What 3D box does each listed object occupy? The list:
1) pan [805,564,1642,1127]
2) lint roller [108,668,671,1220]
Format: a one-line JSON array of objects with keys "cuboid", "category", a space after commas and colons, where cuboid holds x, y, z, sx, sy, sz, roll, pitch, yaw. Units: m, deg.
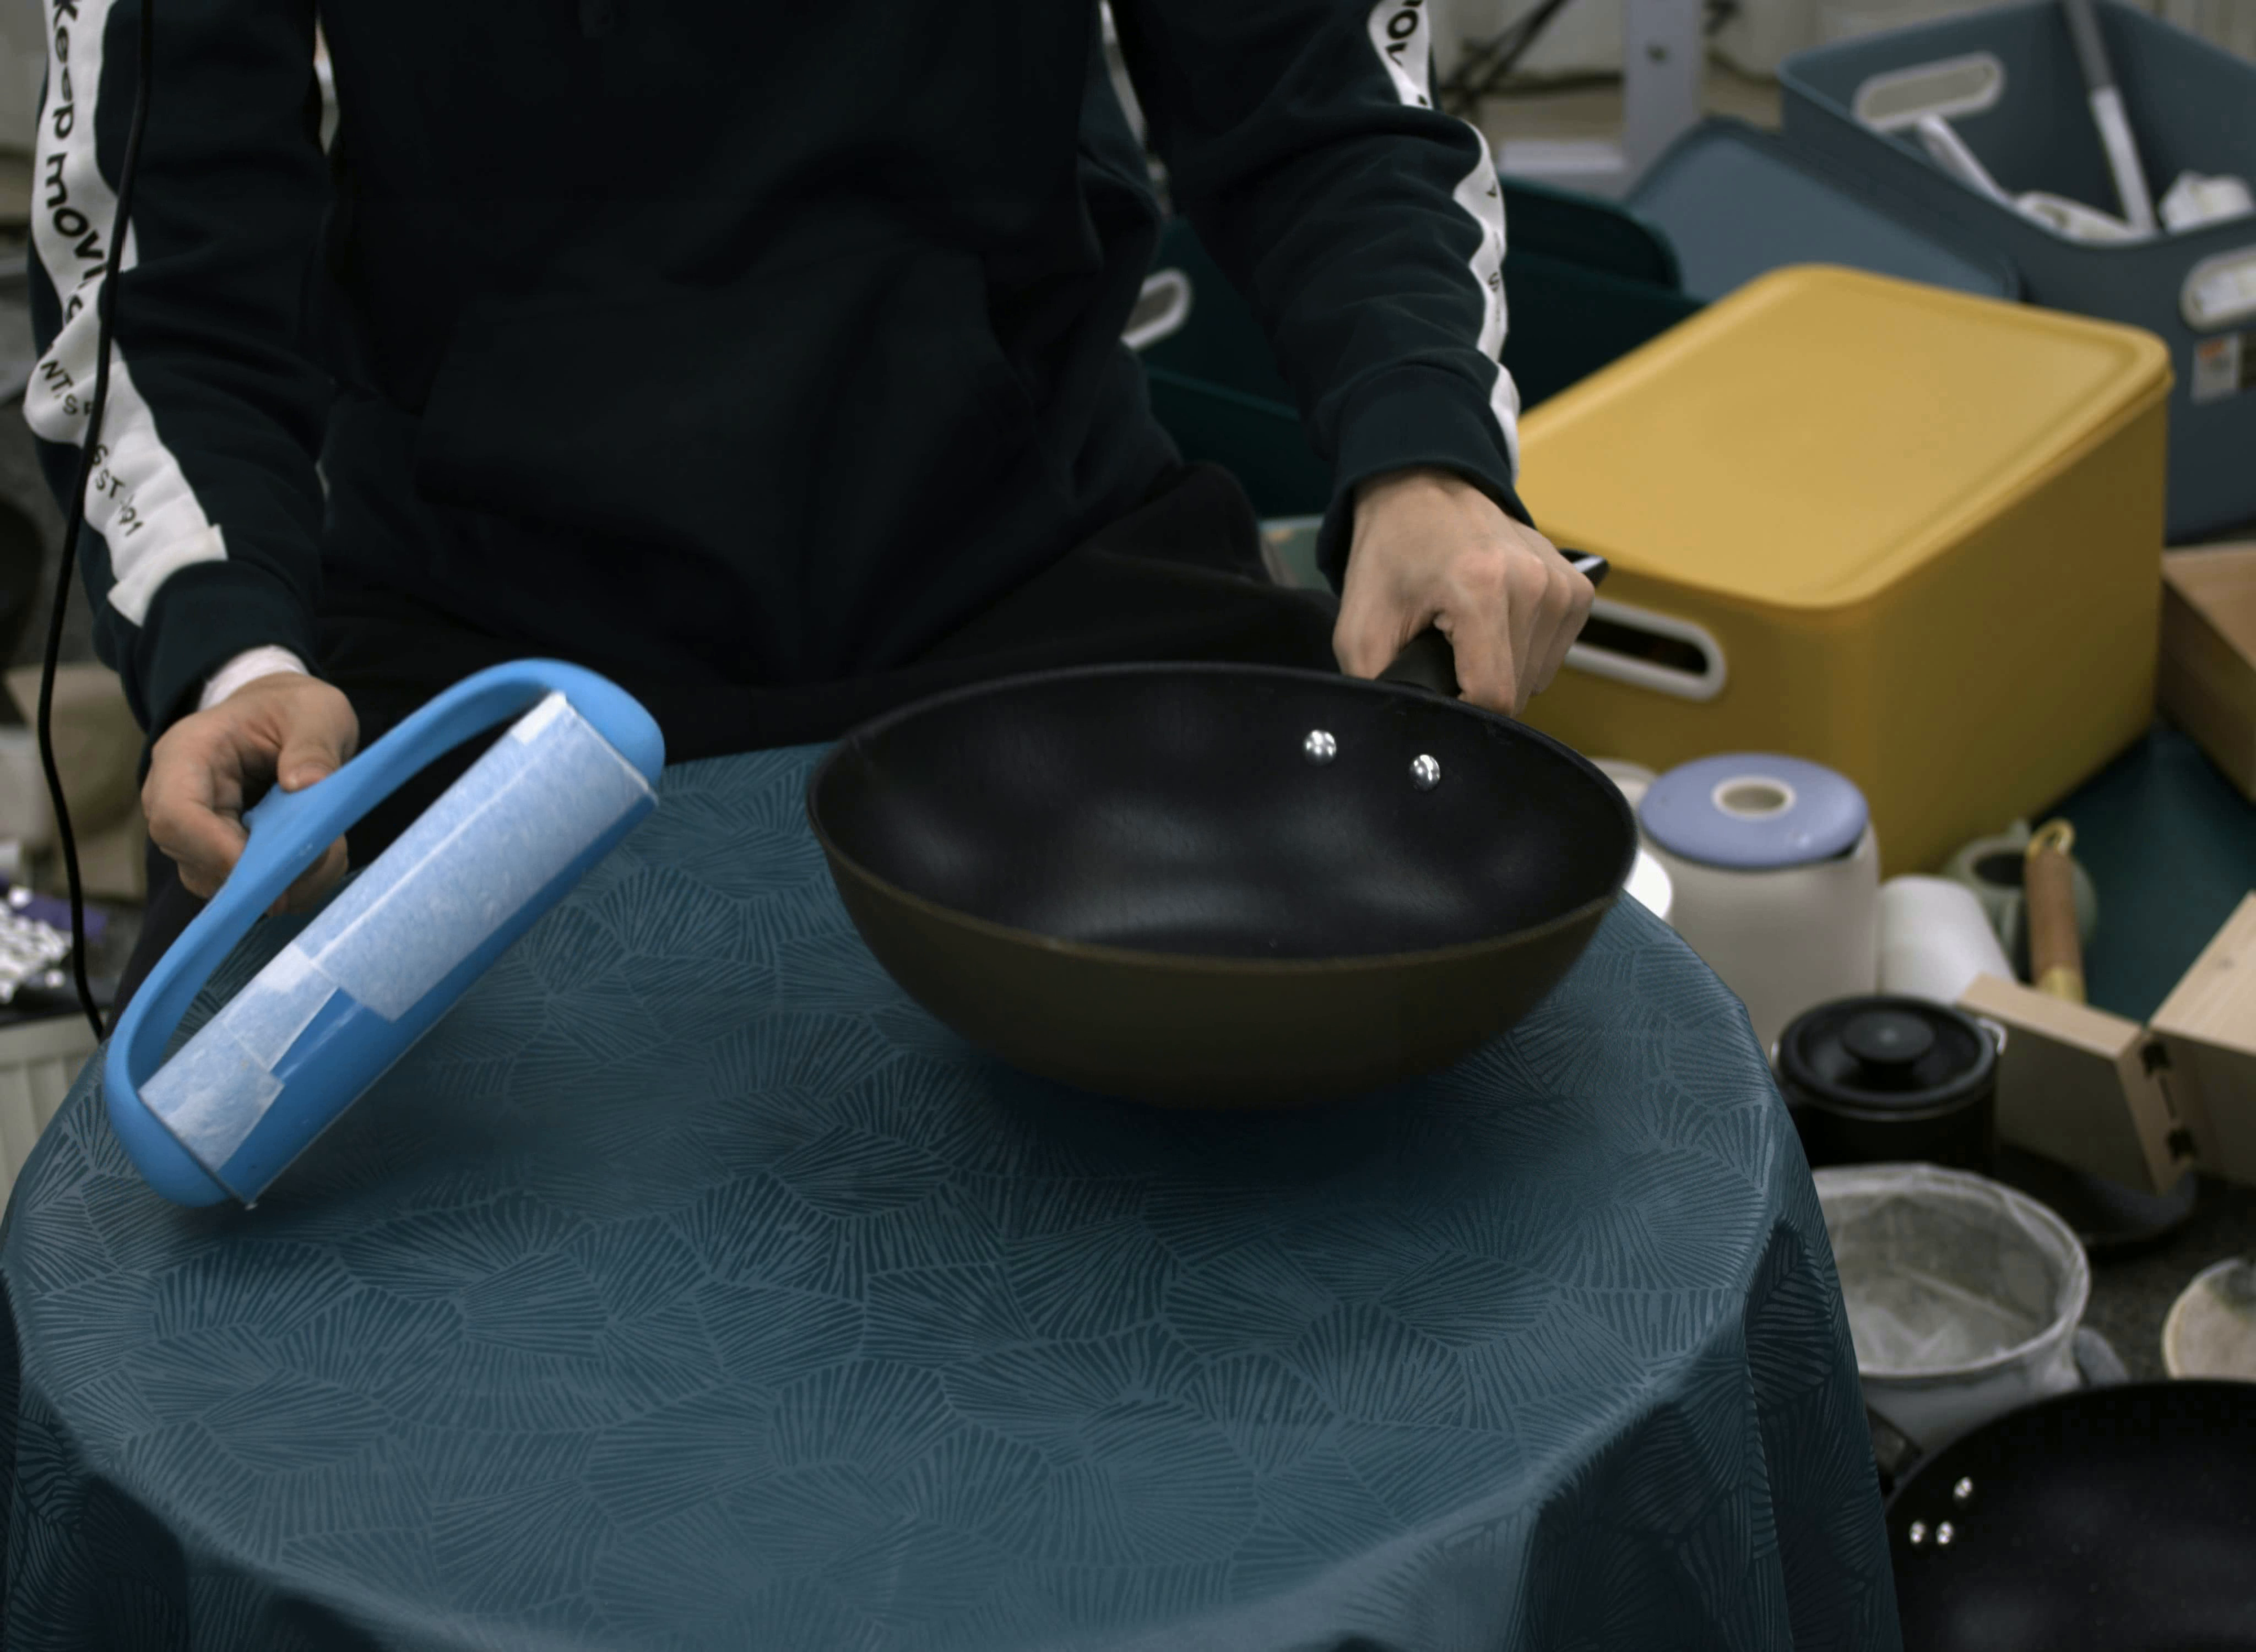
[{"cuboid": [0.070, 0.004, 1.983, 0.286, 0.086, 0.469, 12, 23, 23], "category": "pan"}, {"cuboid": [-0.271, 0.024, 1.915, 0.230, 0.067, 0.180, -47, 36, -9], "category": "lint roller"}]
